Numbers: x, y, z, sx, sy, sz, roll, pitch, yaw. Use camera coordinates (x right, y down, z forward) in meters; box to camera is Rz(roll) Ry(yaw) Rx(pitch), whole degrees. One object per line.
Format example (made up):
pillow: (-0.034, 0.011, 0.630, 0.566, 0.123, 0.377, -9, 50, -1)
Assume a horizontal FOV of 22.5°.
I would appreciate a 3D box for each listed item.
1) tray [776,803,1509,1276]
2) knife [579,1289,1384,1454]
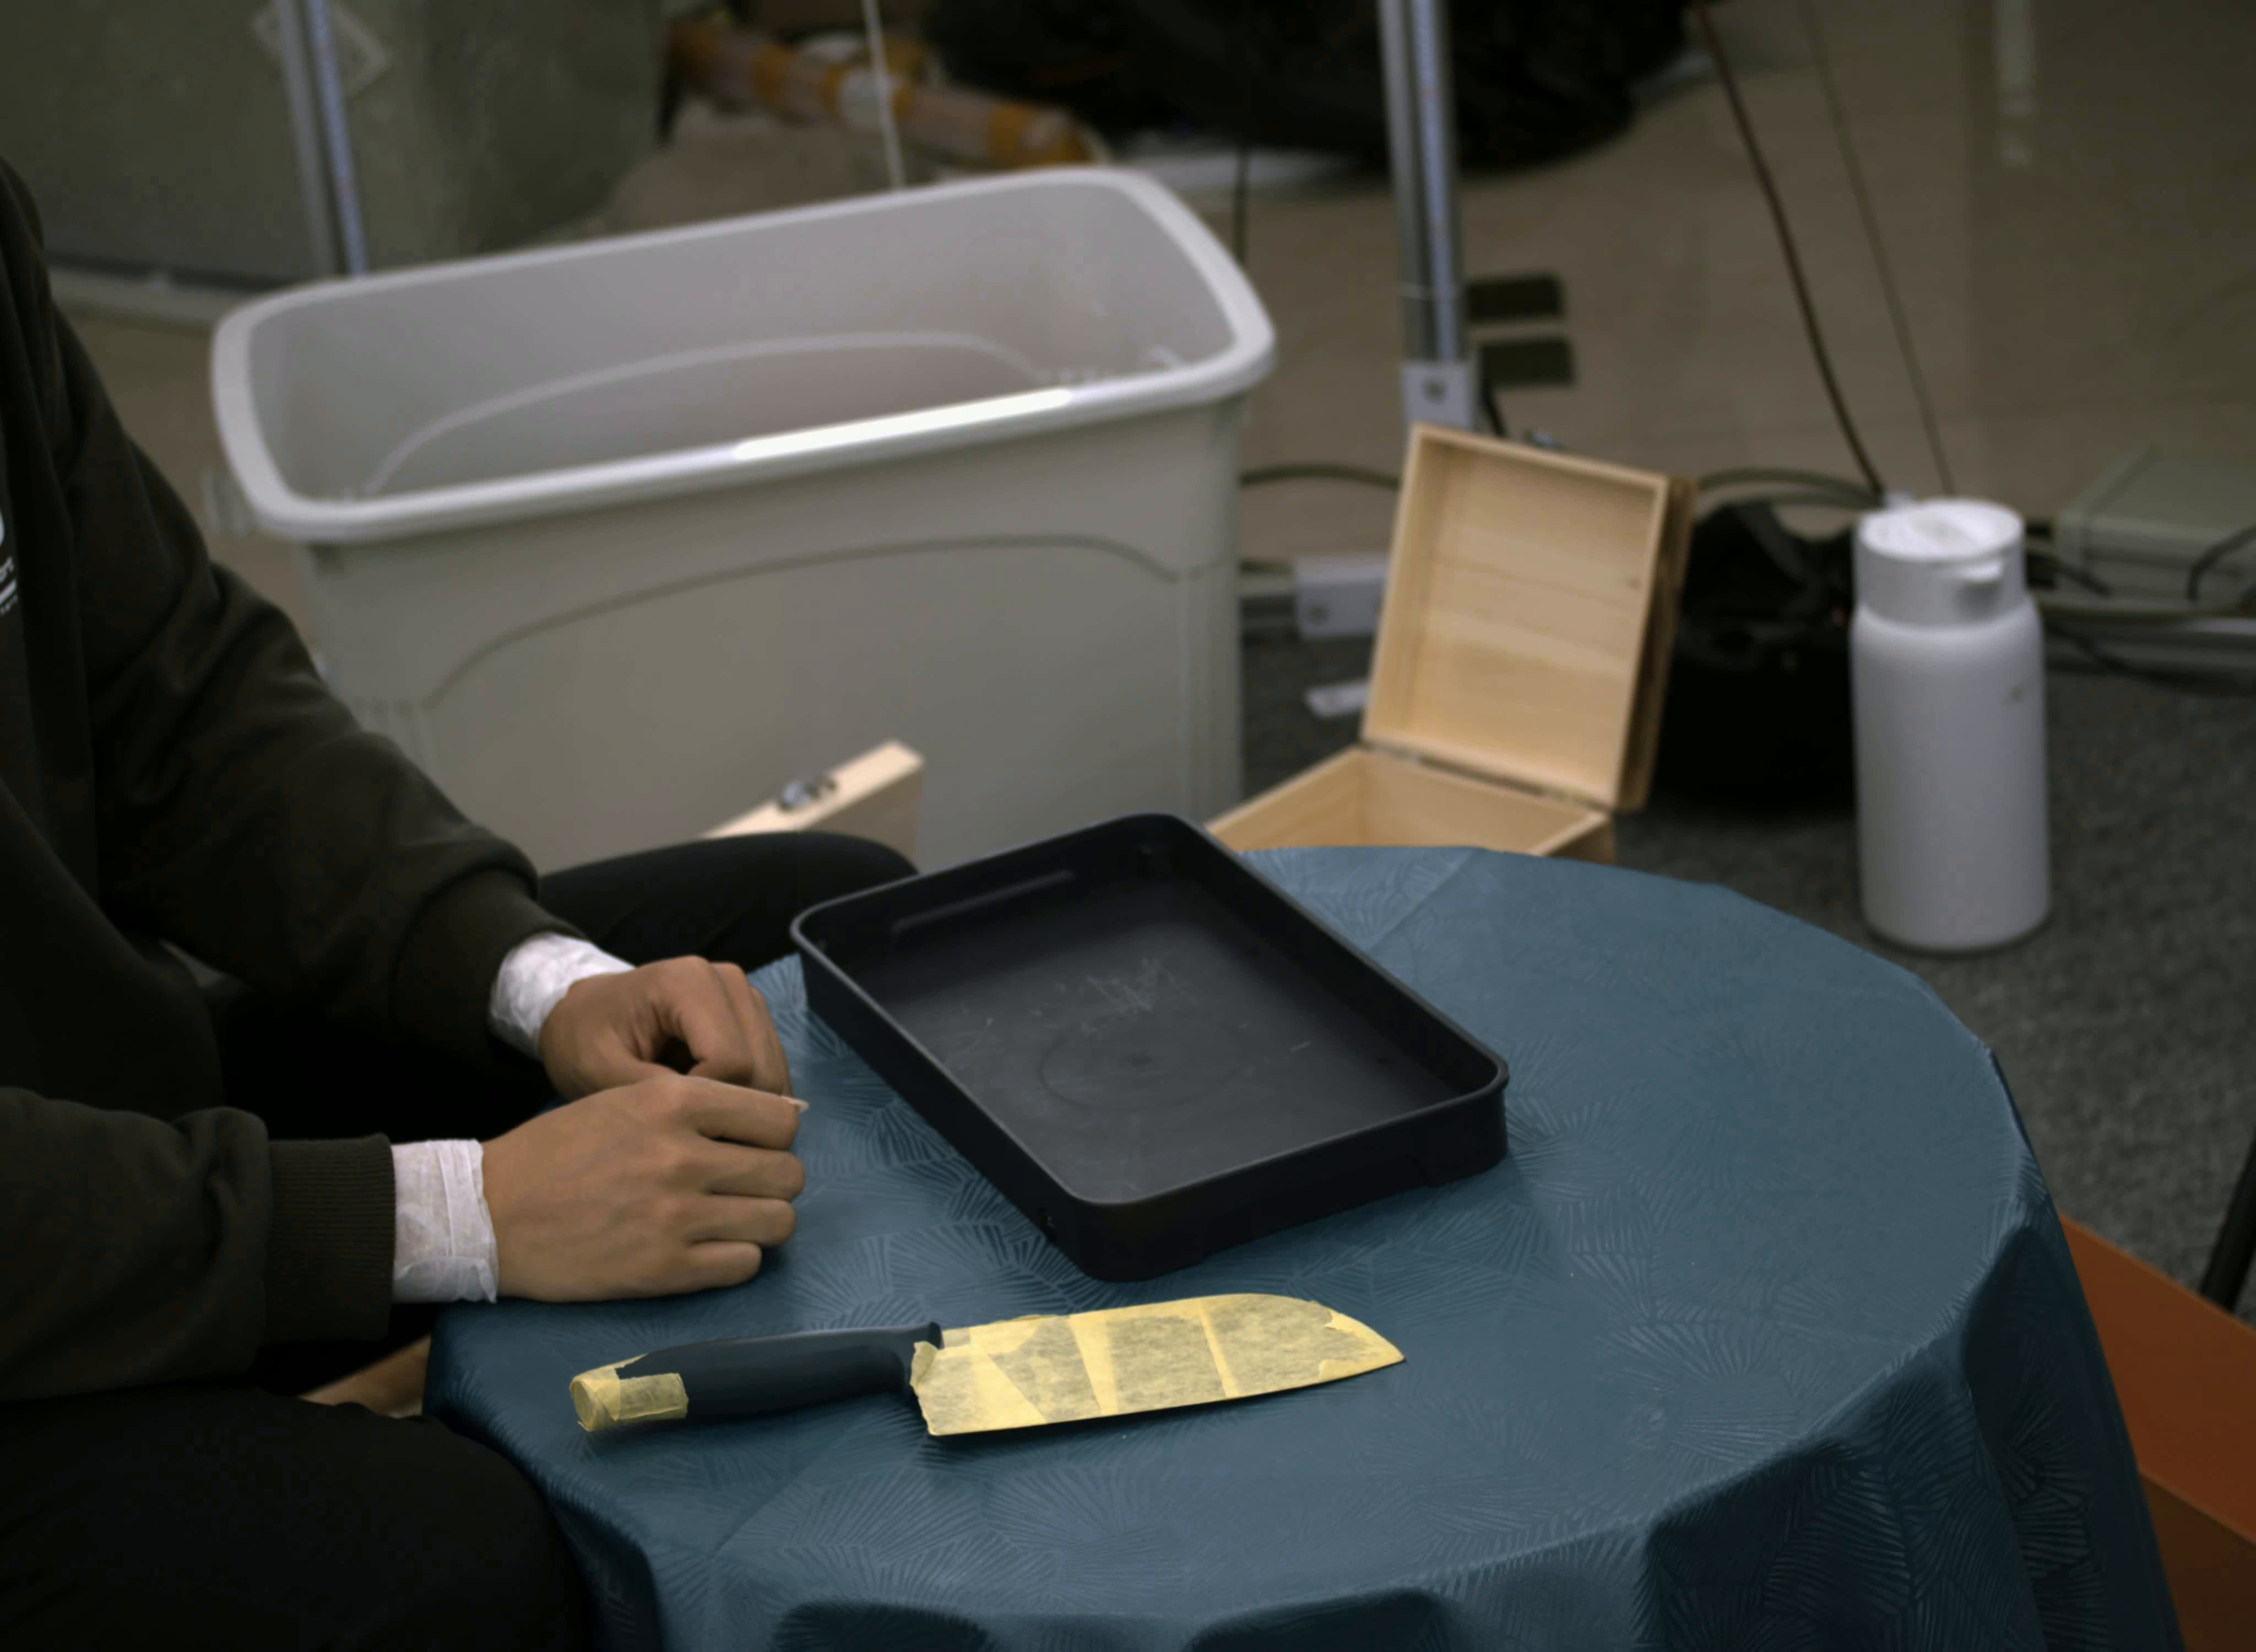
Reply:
tray: (0.002, 0.079, 2.238, 0.183, 0.037, 0.314, -18, 27, -21)
knife: (-0.051, 0.197, 2.022, 0.289, 0.027, 0.080, -7, 23, -4)
